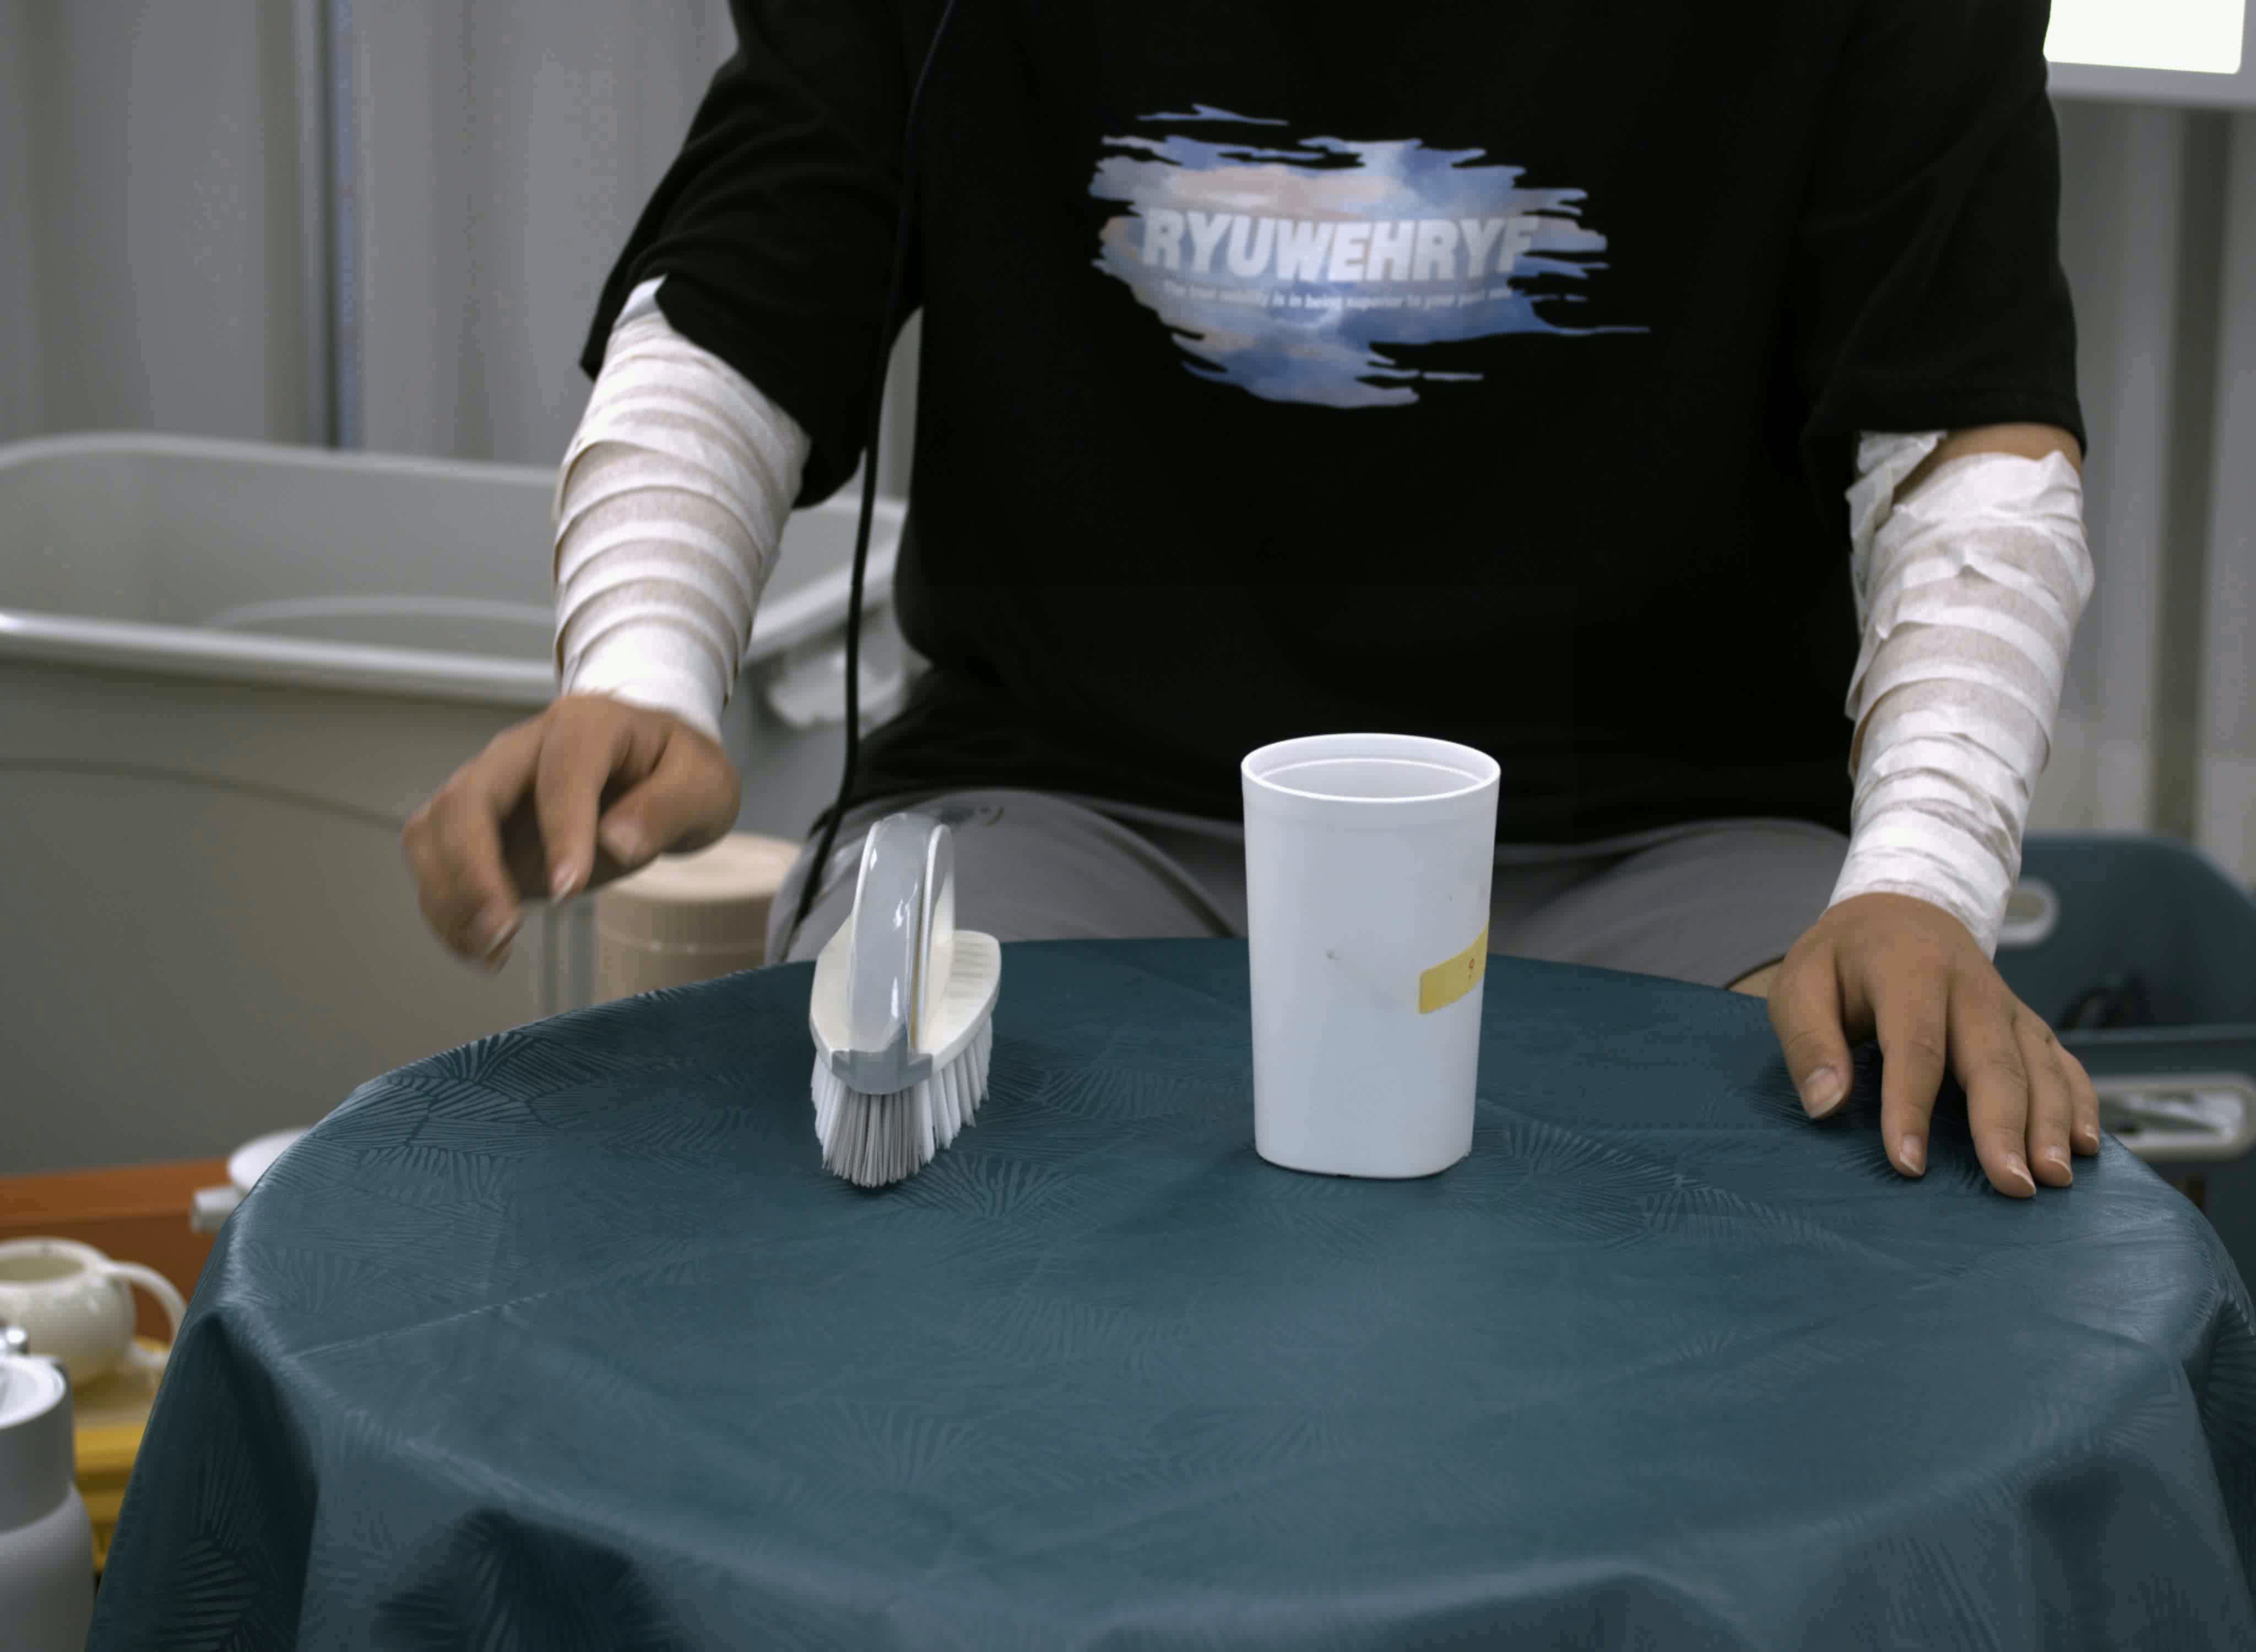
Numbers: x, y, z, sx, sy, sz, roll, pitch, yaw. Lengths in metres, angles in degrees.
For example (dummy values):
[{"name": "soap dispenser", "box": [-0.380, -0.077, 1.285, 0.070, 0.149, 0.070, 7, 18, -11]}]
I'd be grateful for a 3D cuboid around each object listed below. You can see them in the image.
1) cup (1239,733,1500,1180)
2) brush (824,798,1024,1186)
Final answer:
[{"name": "cup", "box": [0.075, 0.041, 1.651, 0.081, 0.126, 0.081, 0, 16, 1]}, {"name": "brush", "box": [-0.070, 0.047, 1.685, 0.061, 0.095, 0.175, -3, 17, 5]}]
